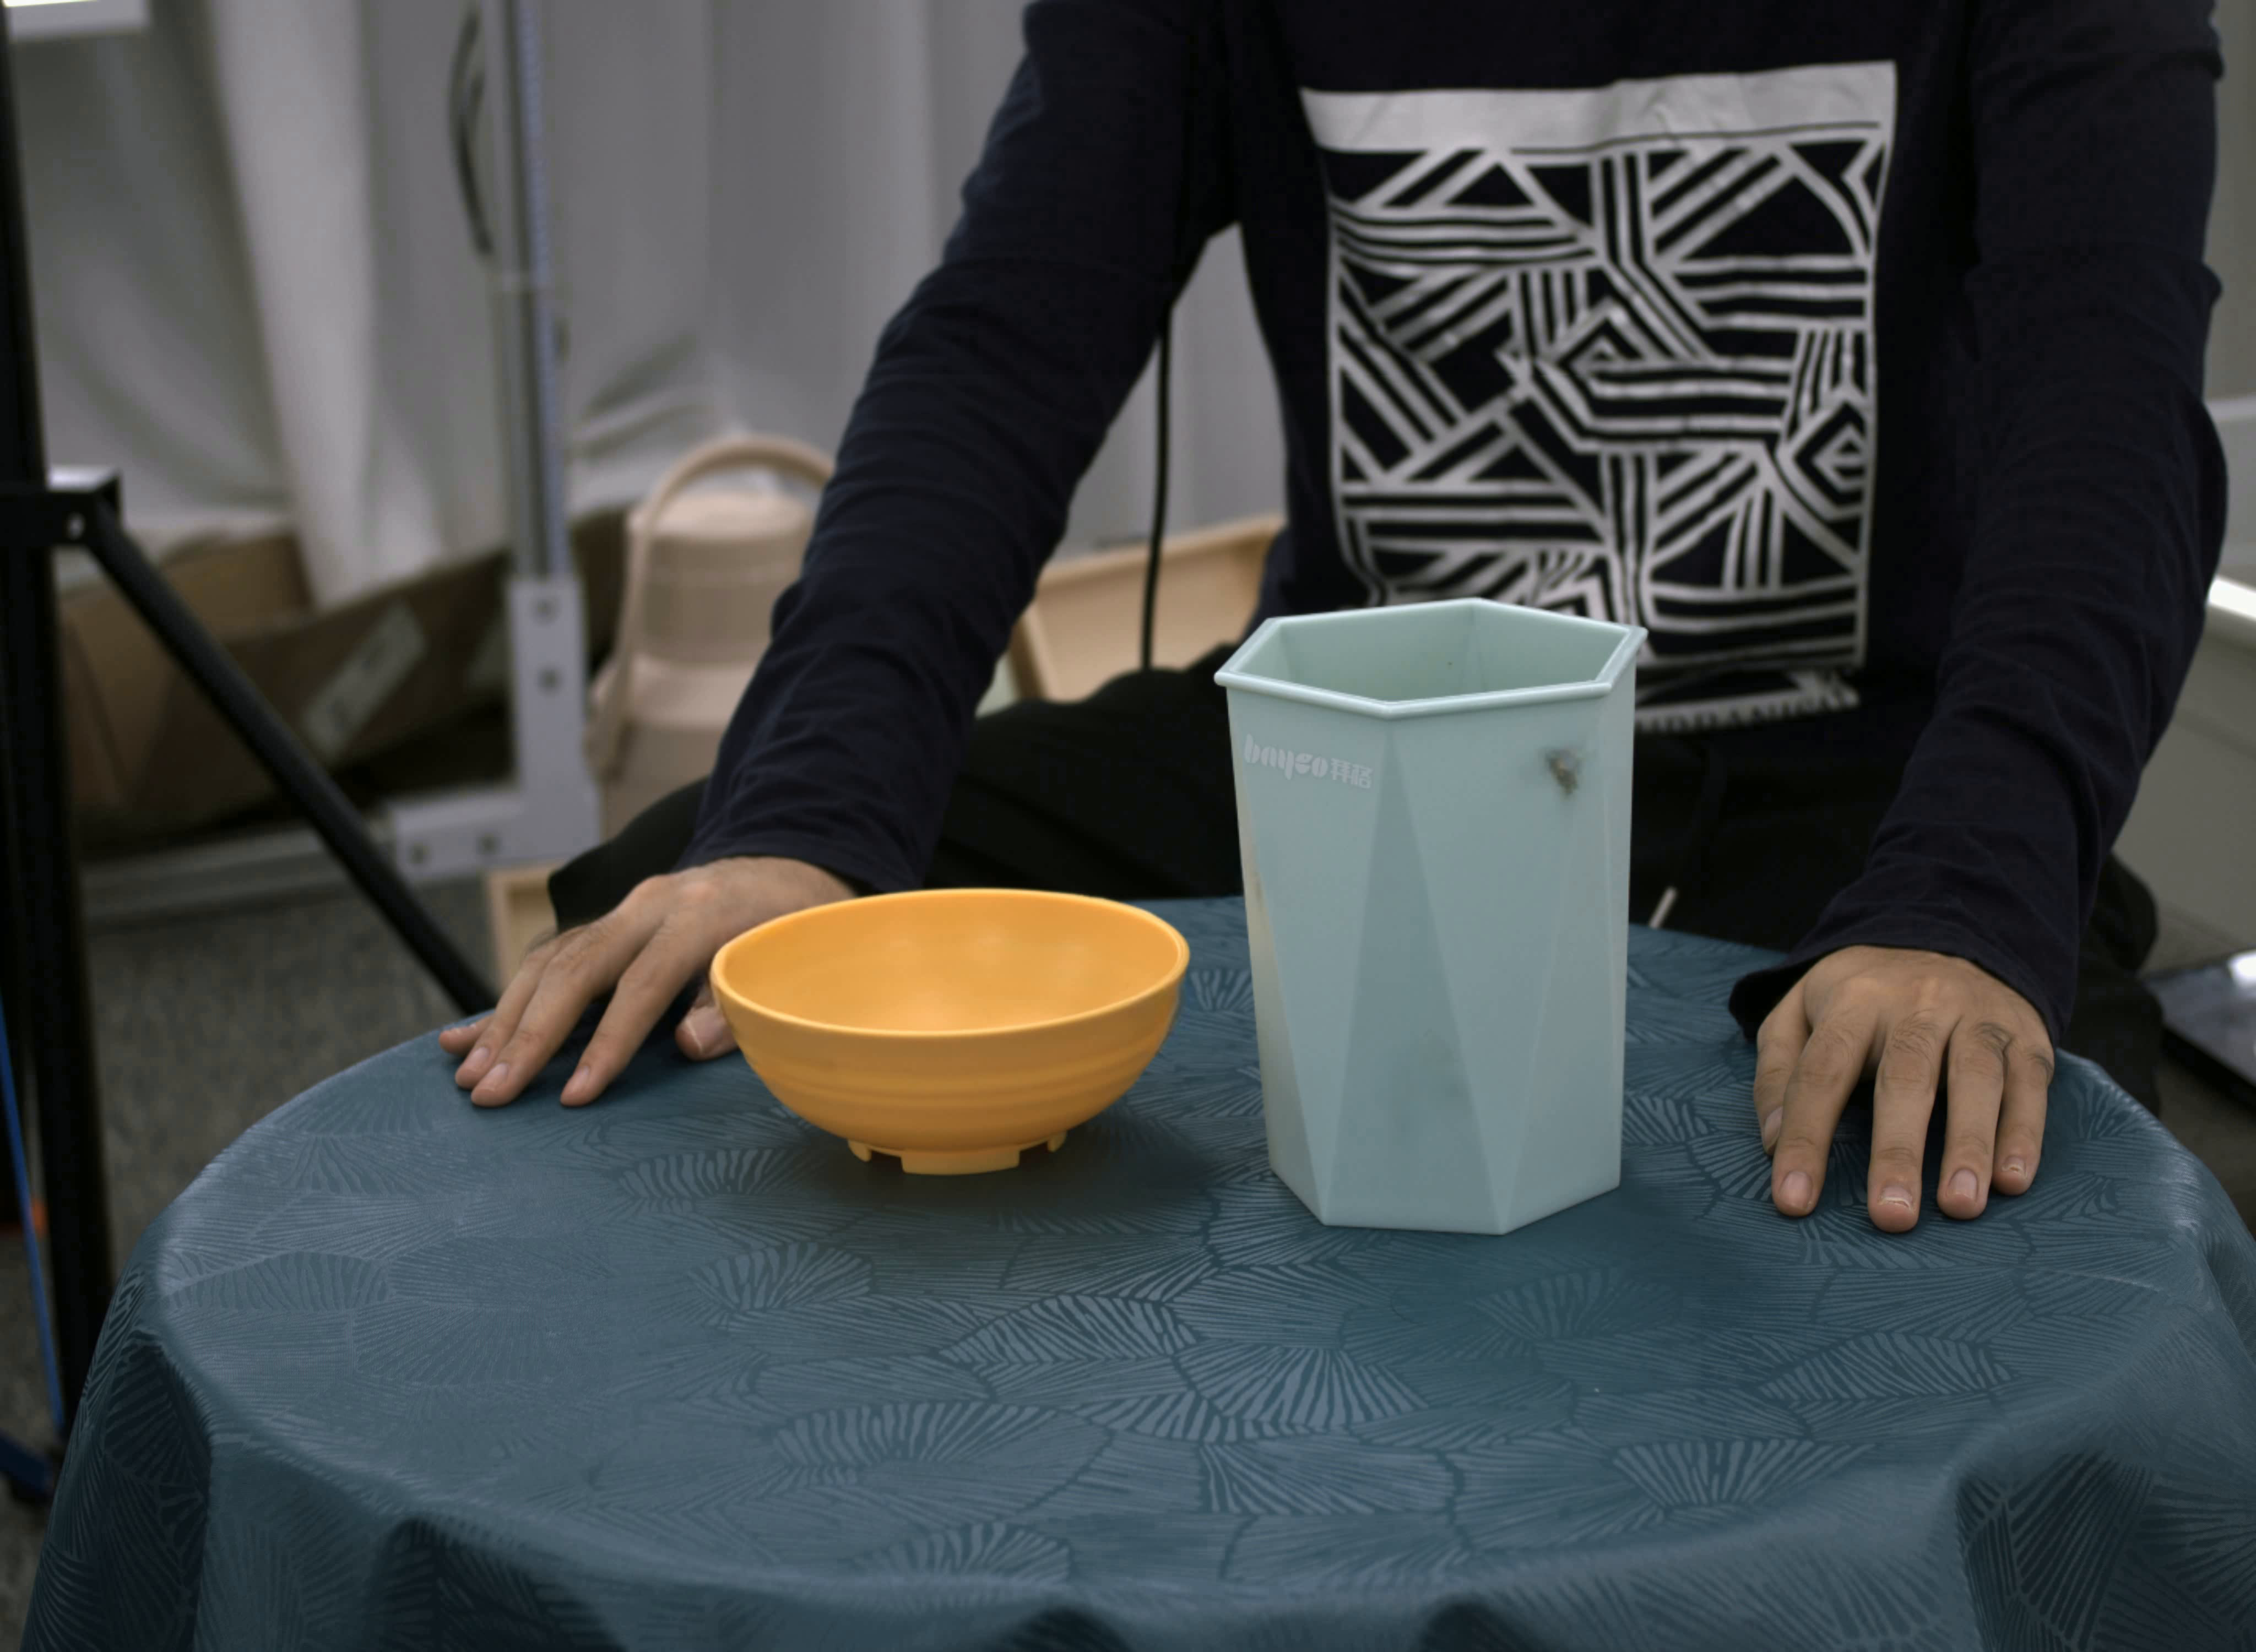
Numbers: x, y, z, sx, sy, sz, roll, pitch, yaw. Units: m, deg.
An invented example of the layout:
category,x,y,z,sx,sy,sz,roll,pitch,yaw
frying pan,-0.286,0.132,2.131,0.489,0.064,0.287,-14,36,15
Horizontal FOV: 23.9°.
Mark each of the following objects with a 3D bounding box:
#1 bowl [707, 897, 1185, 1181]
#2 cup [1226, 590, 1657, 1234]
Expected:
category,x,y,z,sx,sy,sz,roll,pitch,yaw
bowl,-0.055,0.069,1.609,0.144,0.060,0.146,0,14,-1
cup,0.091,0.026,1.538,0.134,0.163,0.112,13,20,42
